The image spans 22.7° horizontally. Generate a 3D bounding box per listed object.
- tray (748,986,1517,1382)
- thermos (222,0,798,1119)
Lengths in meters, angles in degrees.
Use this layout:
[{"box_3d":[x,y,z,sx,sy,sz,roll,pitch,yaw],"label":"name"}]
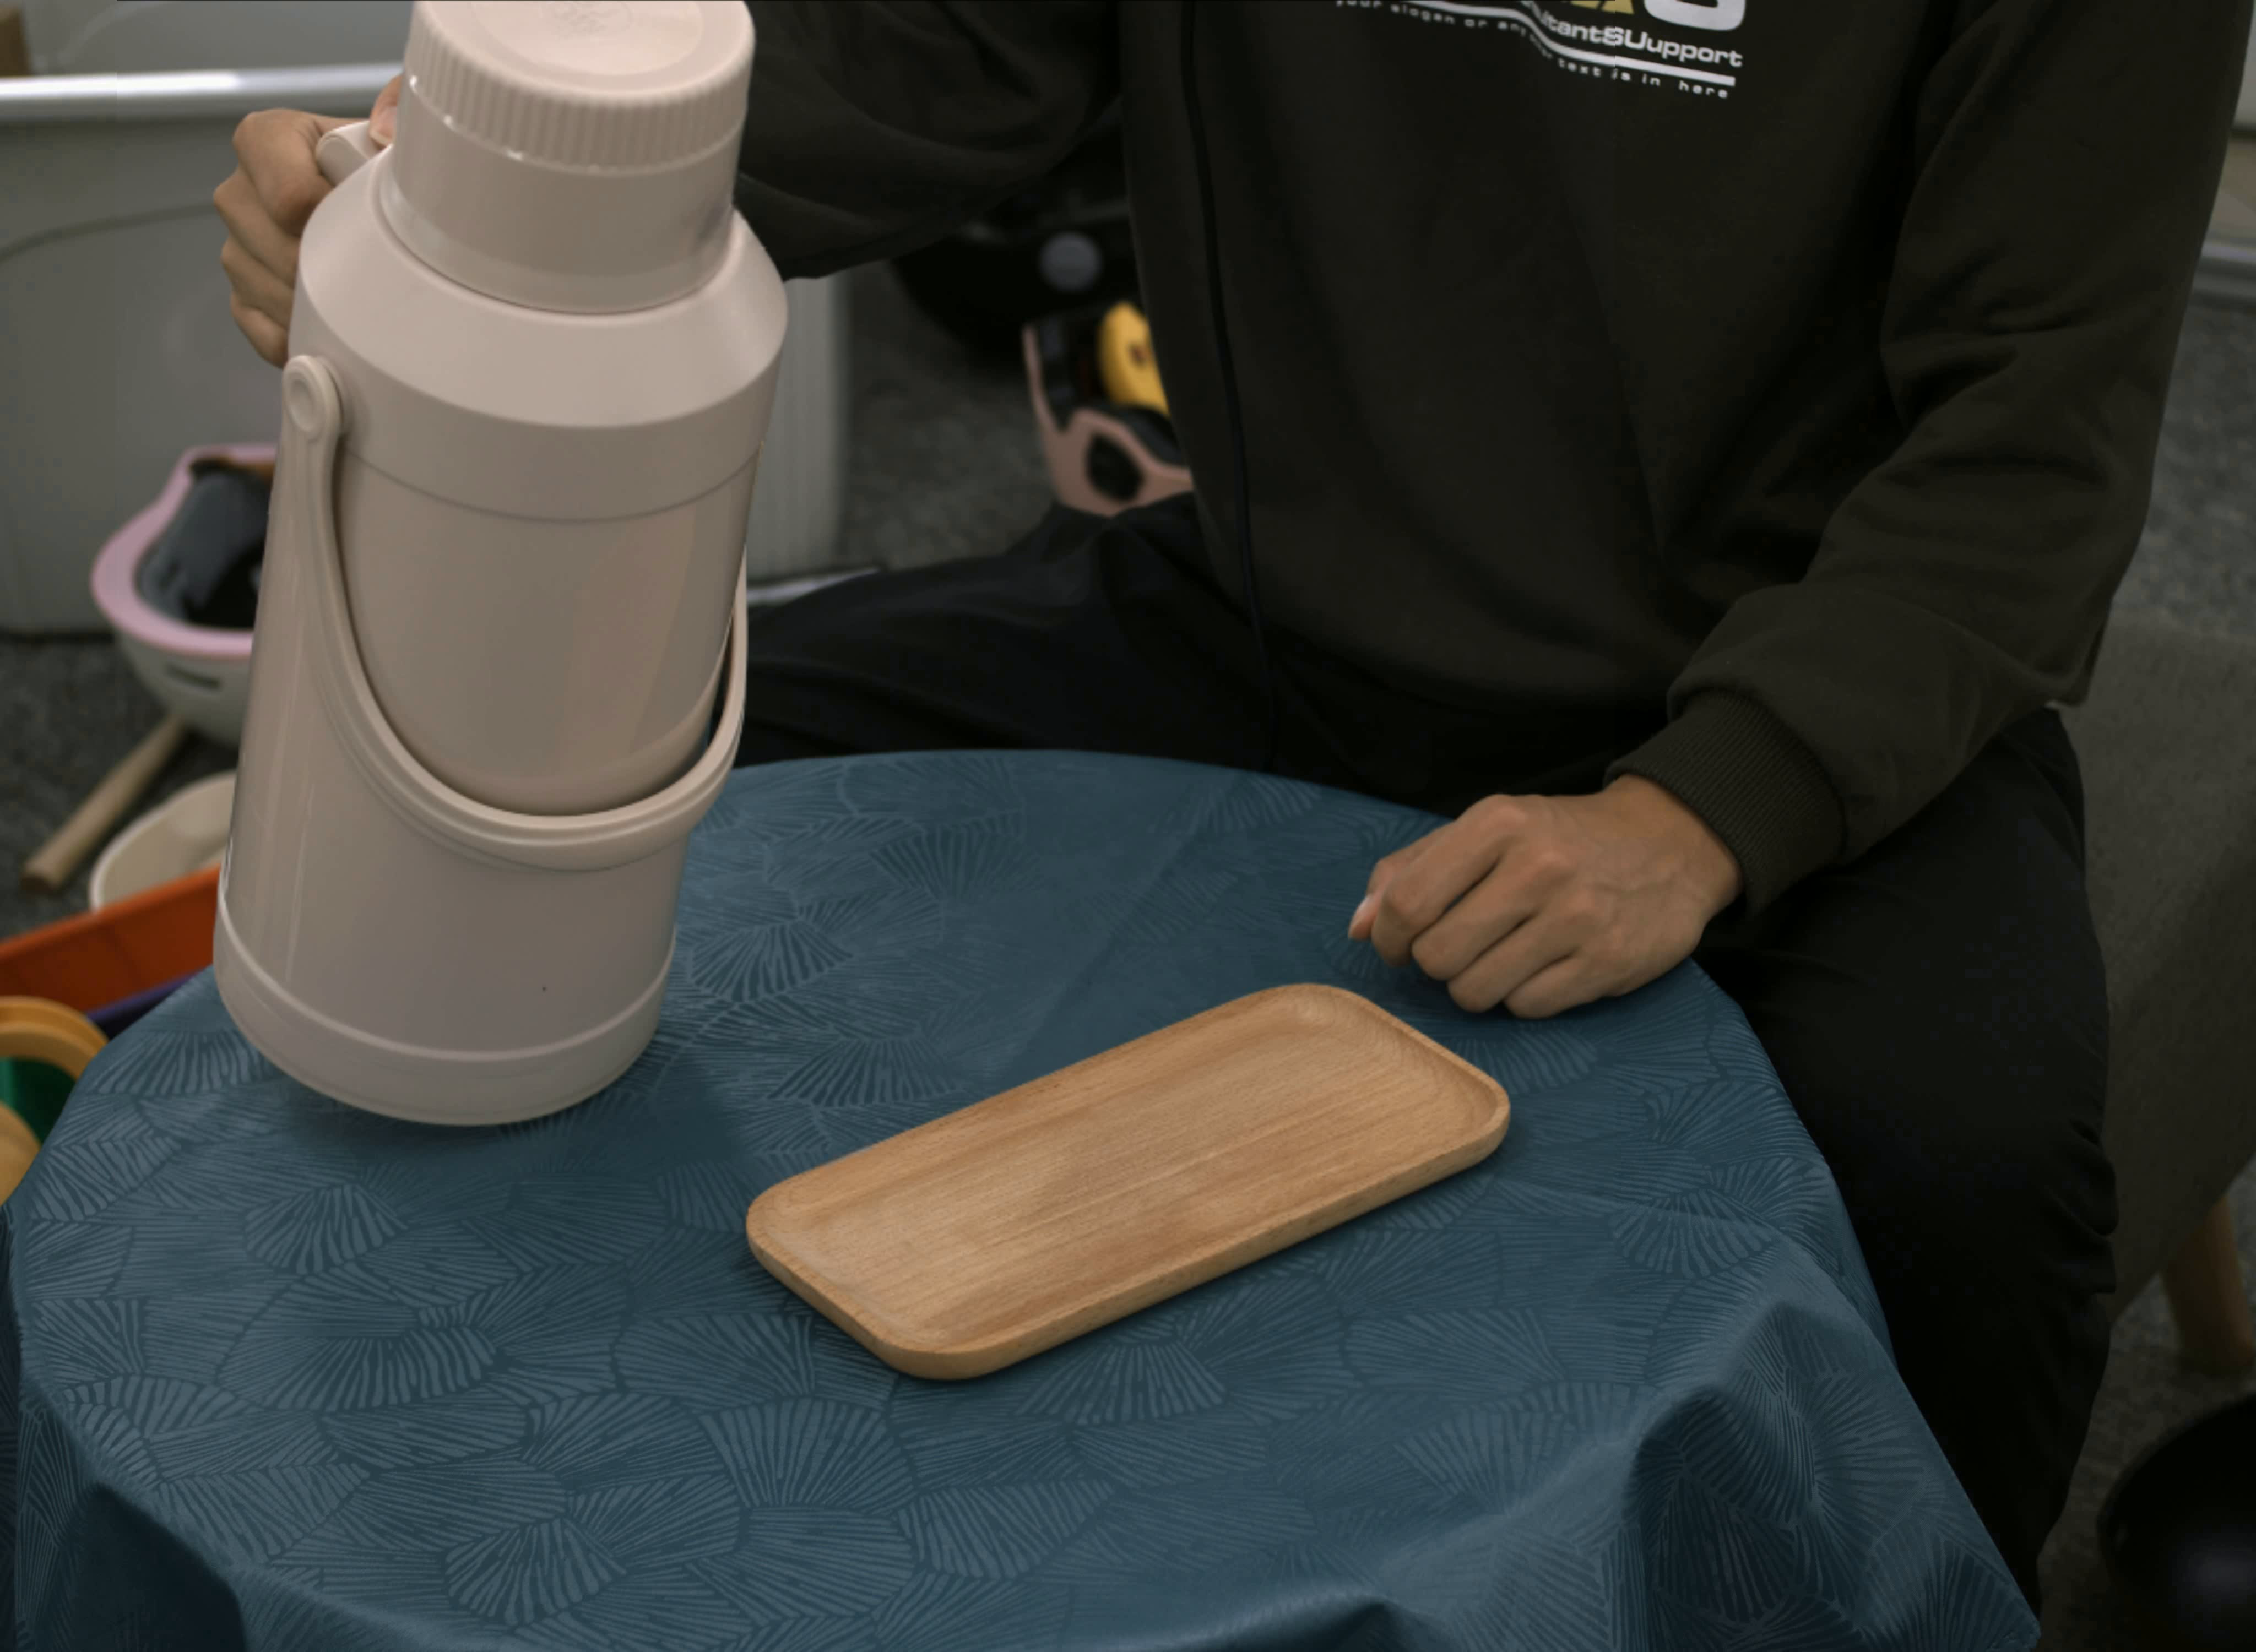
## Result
[{"box_3d":[0.003,0.117,1.857,0.253,0.022,0.131,-19,34,-30],"label":"tray"},{"box_3d":[-0.208,-0.109,1.858,0.177,0.400,0.208,-20,49,-35],"label":"thermos"}]
